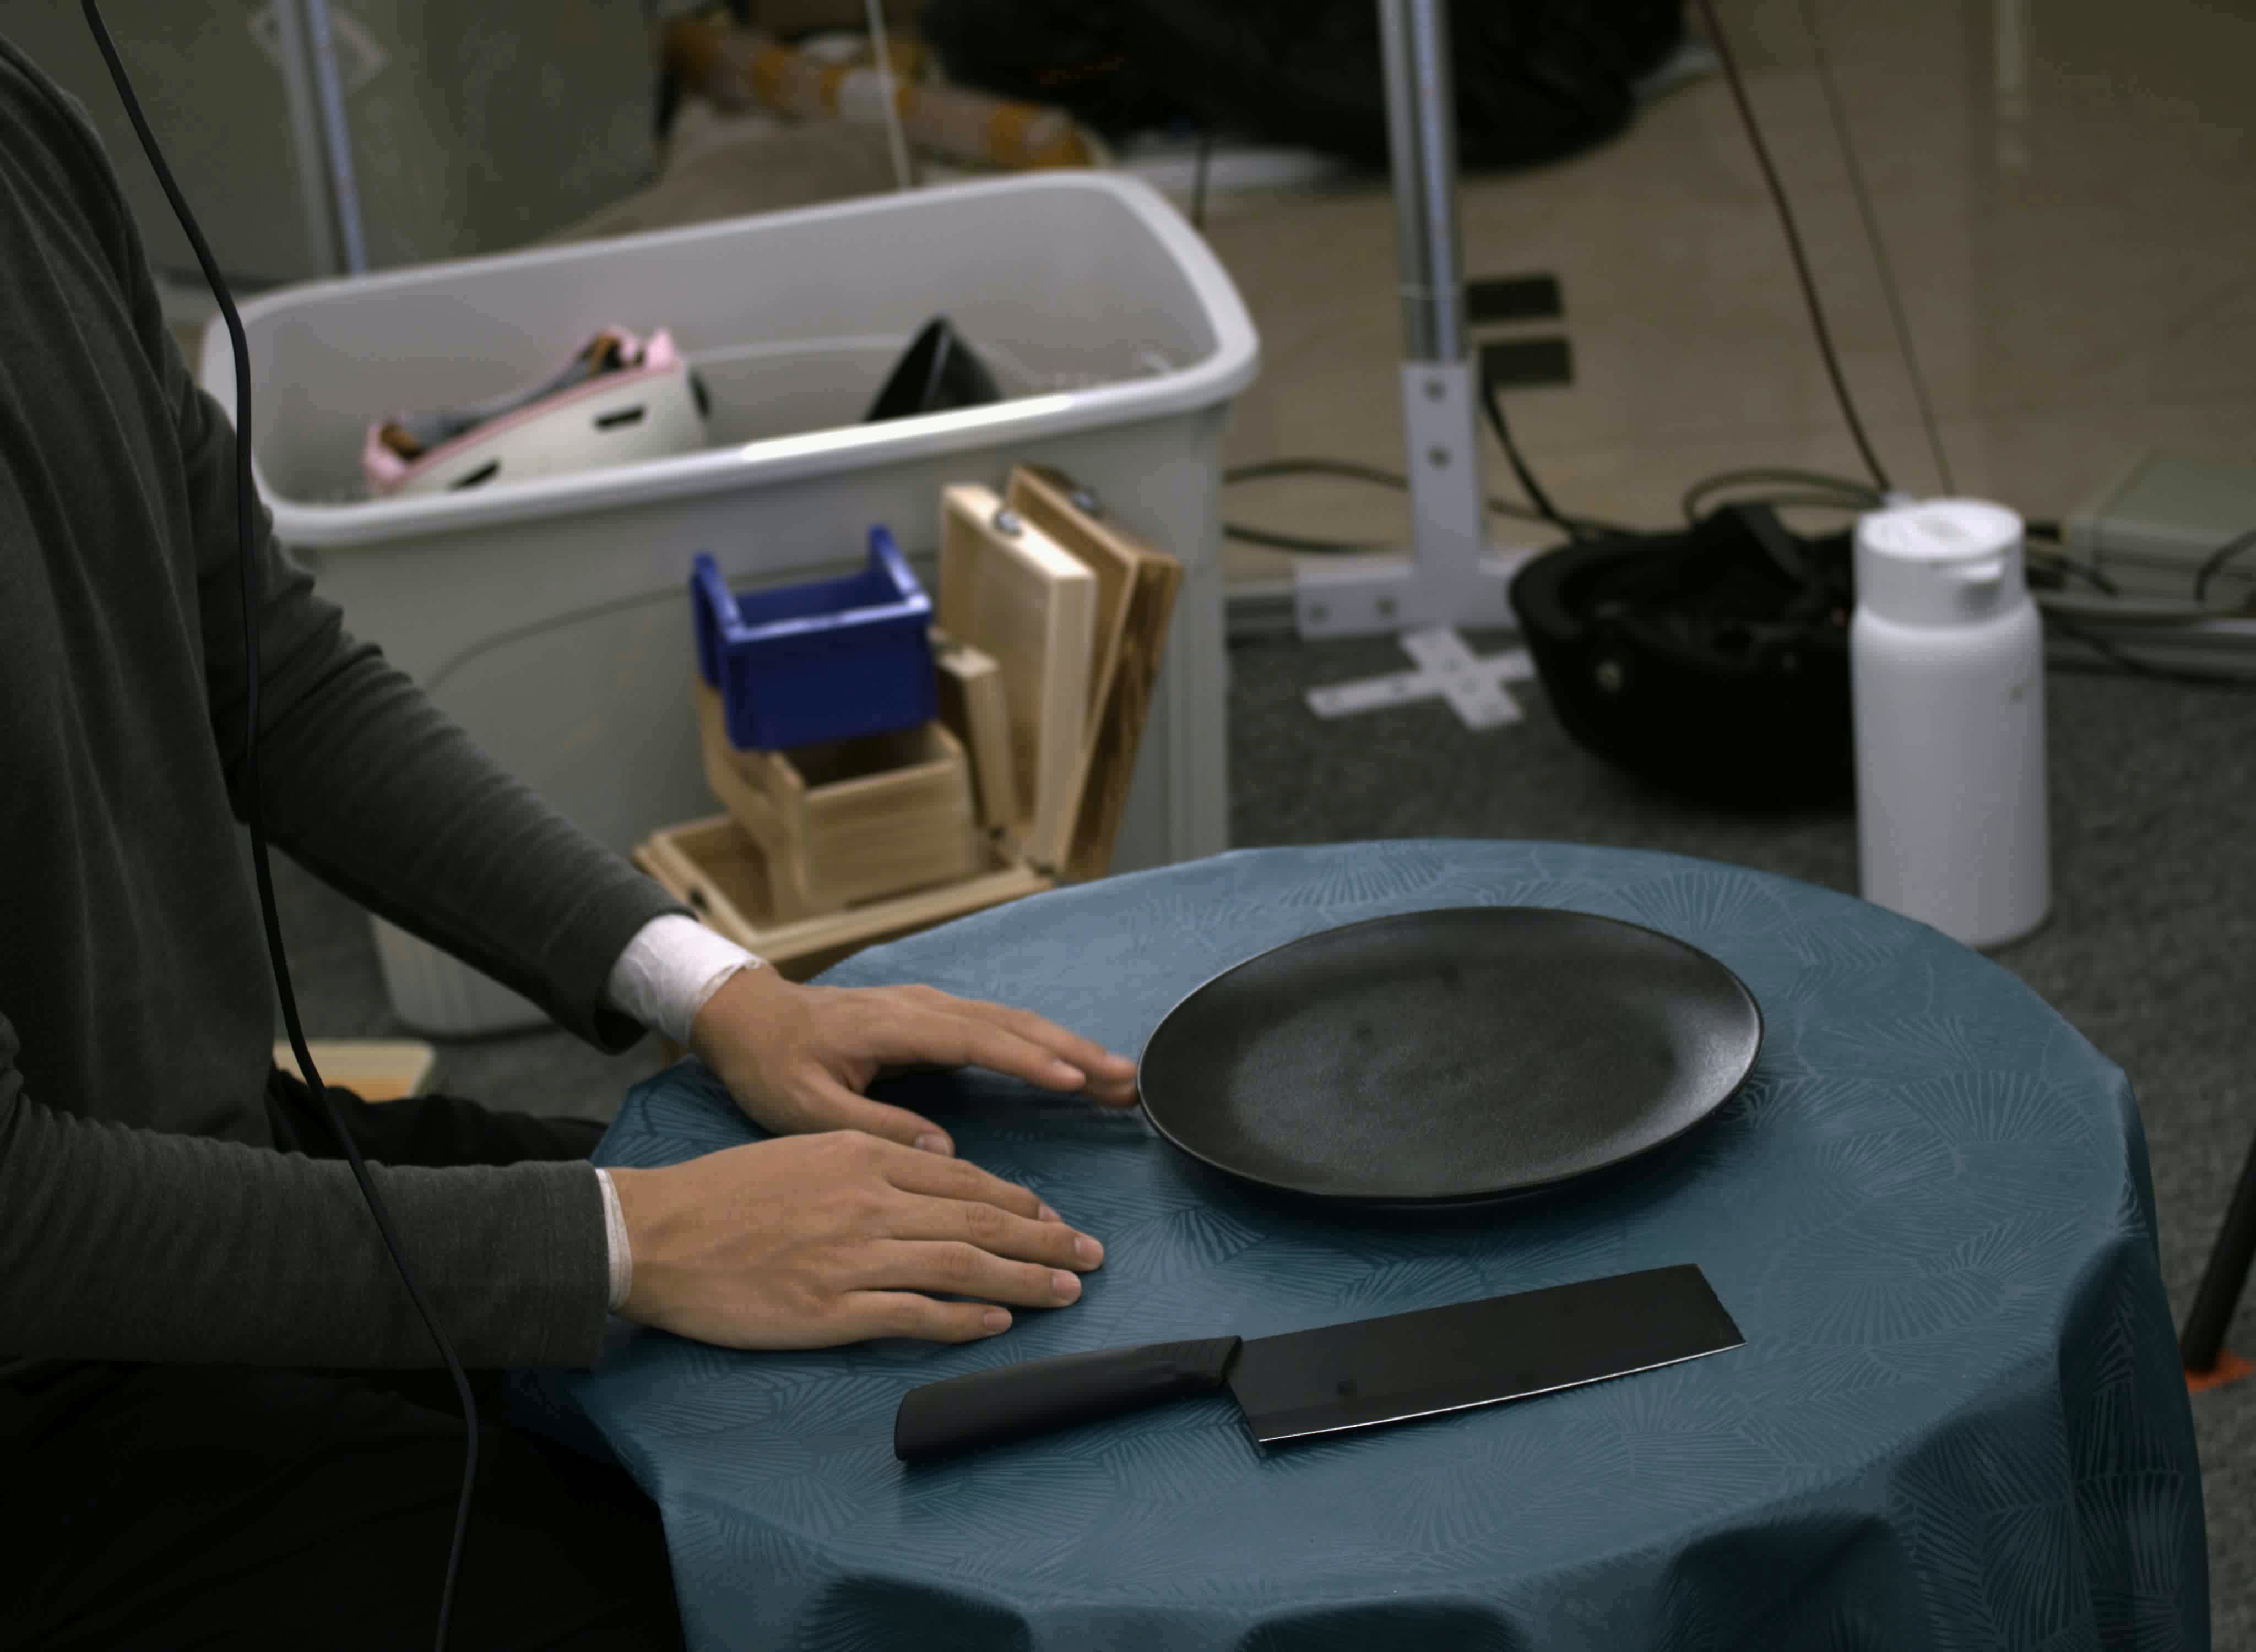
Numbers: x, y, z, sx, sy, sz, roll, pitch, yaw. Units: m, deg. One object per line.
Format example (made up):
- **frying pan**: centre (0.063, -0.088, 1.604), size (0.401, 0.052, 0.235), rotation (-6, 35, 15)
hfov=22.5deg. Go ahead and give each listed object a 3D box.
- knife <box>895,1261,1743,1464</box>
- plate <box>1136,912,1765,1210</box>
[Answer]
- **knife**: centre (0.066, 0.193, 2.004), size (0.302, 0.021, 0.080), rotation (-8, 26, -6)
- **plate**: centre (0.124, 0.094, 2.189), size (0.244, 0.024, 0.241), rotation (-6, 25, 3)
